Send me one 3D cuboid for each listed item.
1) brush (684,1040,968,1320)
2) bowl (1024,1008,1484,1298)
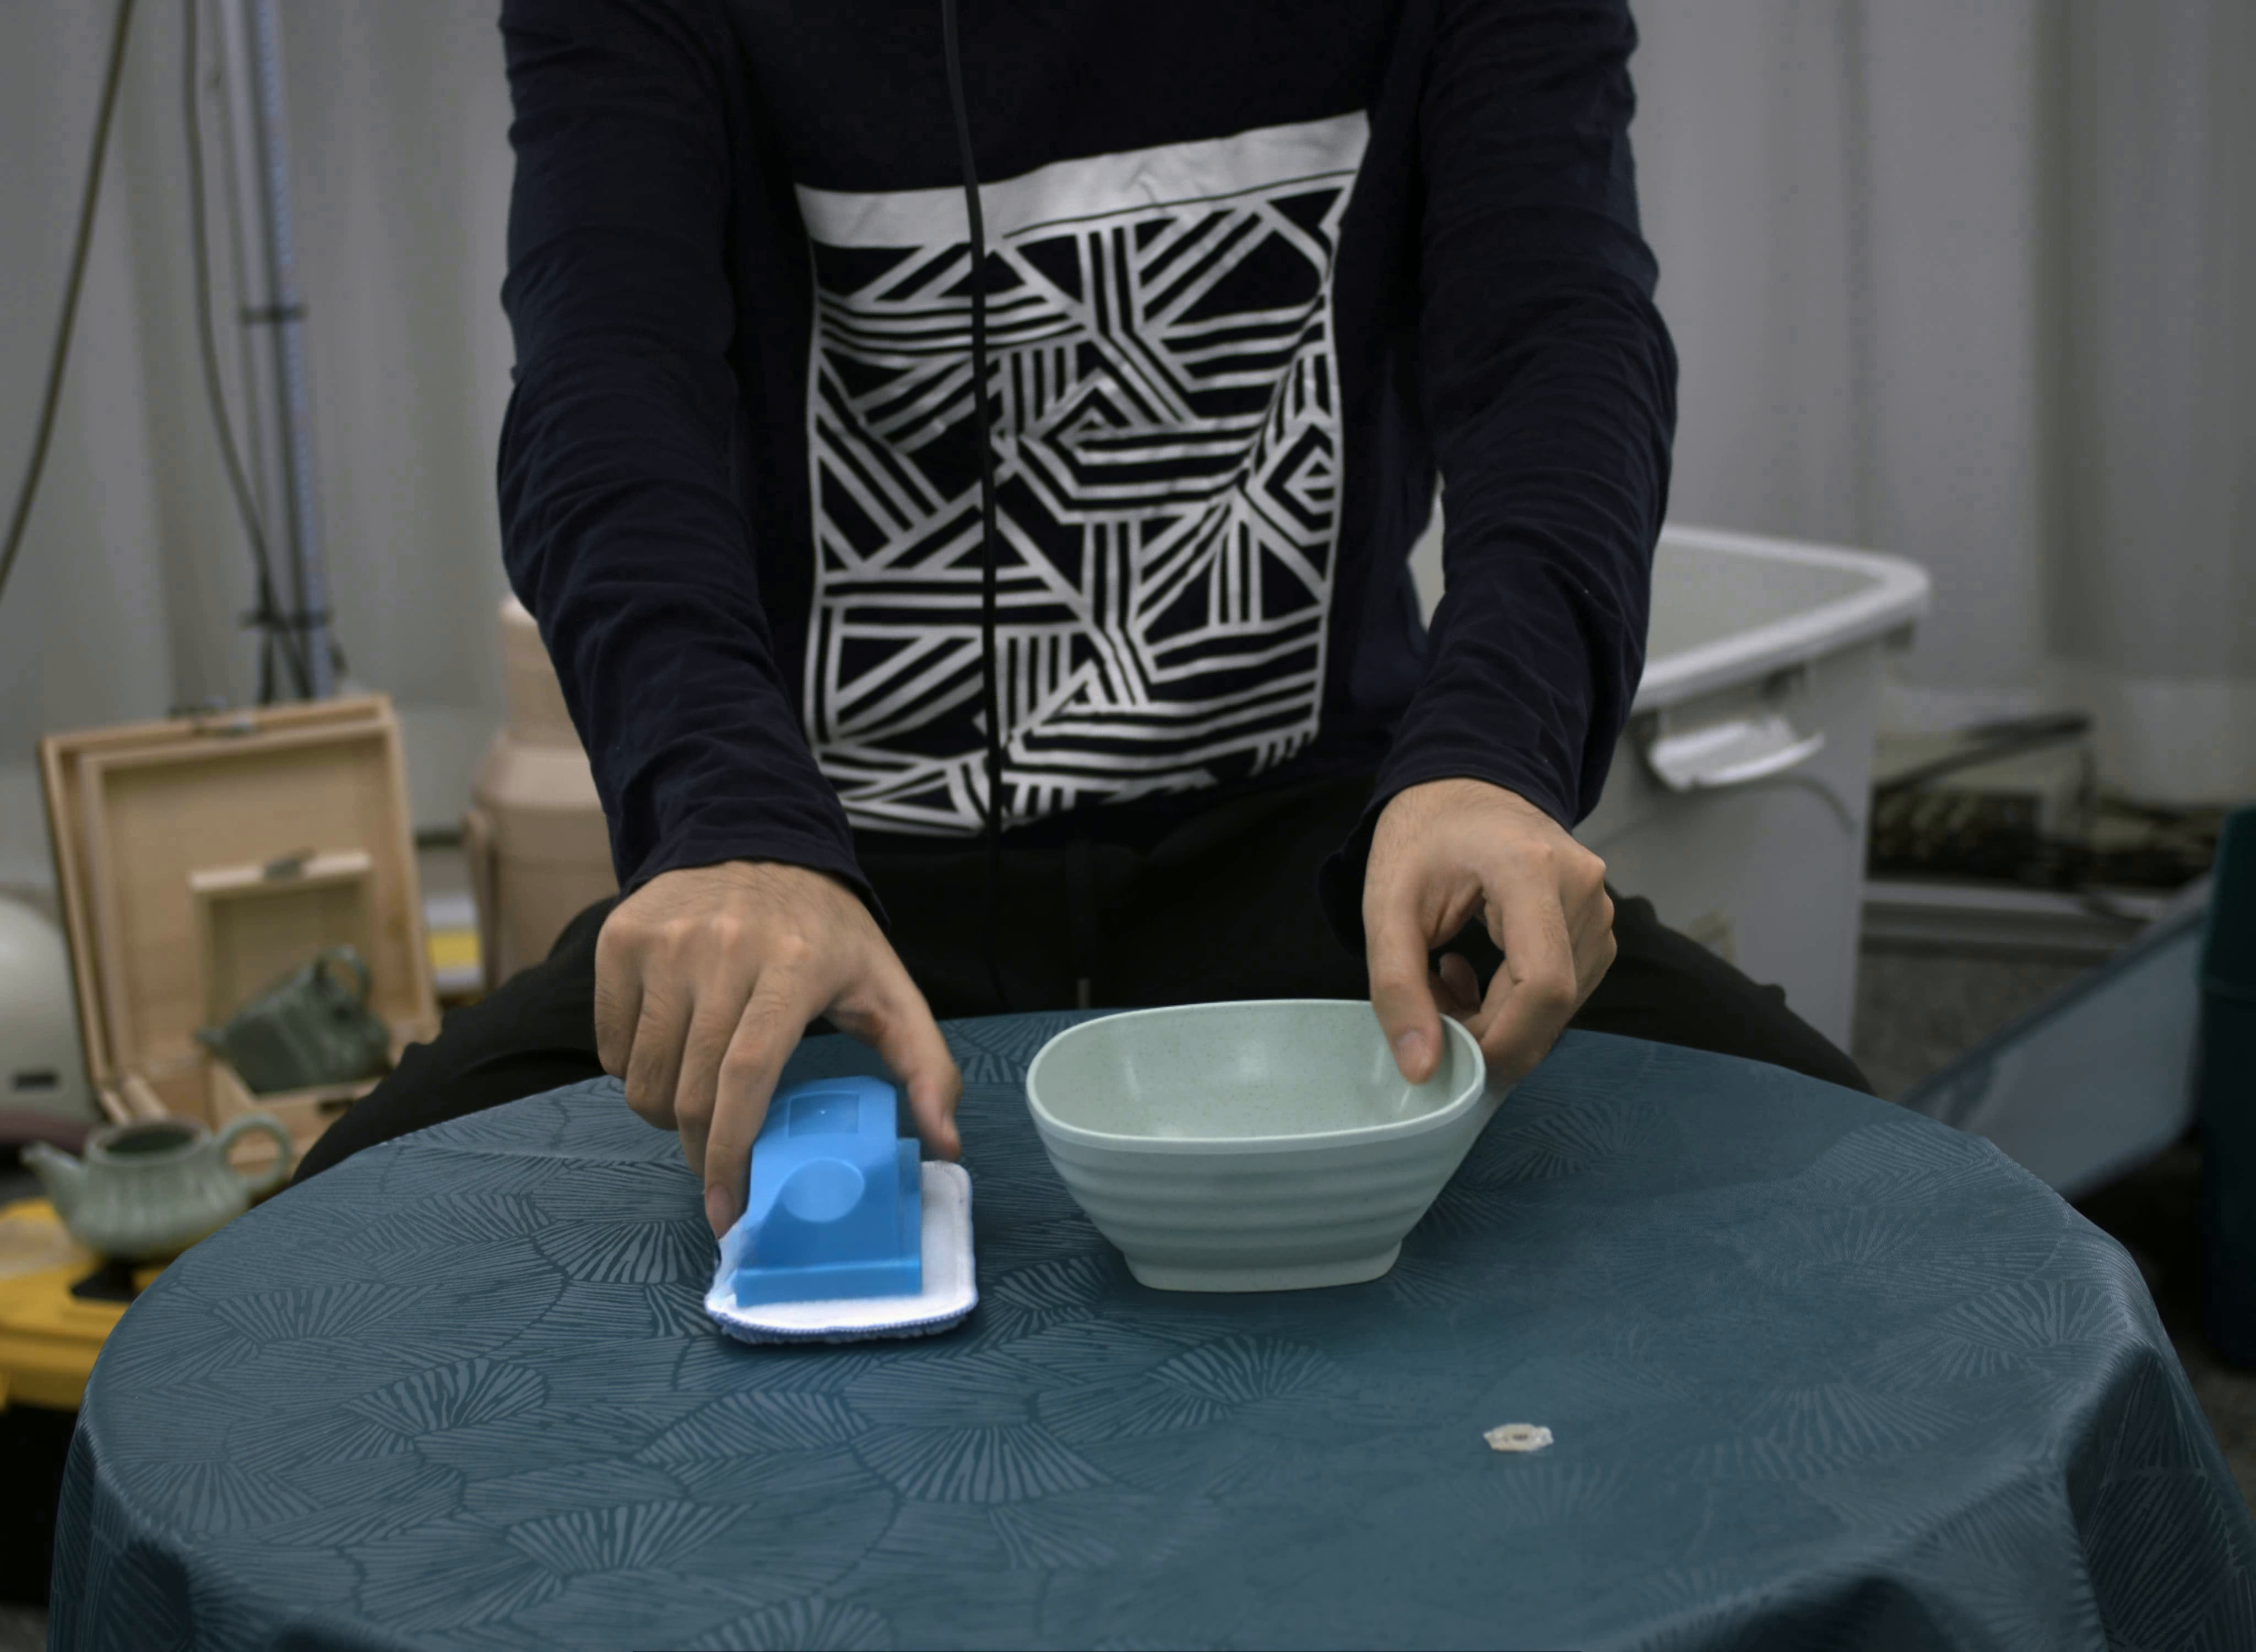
[{"bbox_3d":[-0.090,0.104,1.655,0.083,0.055,0.145,1,16,-1],"label":"brush"},{"bbox_3d":[0.038,0.102,1.654,0.151,0.058,0.152,-1,14,0],"label":"bowl"}]
